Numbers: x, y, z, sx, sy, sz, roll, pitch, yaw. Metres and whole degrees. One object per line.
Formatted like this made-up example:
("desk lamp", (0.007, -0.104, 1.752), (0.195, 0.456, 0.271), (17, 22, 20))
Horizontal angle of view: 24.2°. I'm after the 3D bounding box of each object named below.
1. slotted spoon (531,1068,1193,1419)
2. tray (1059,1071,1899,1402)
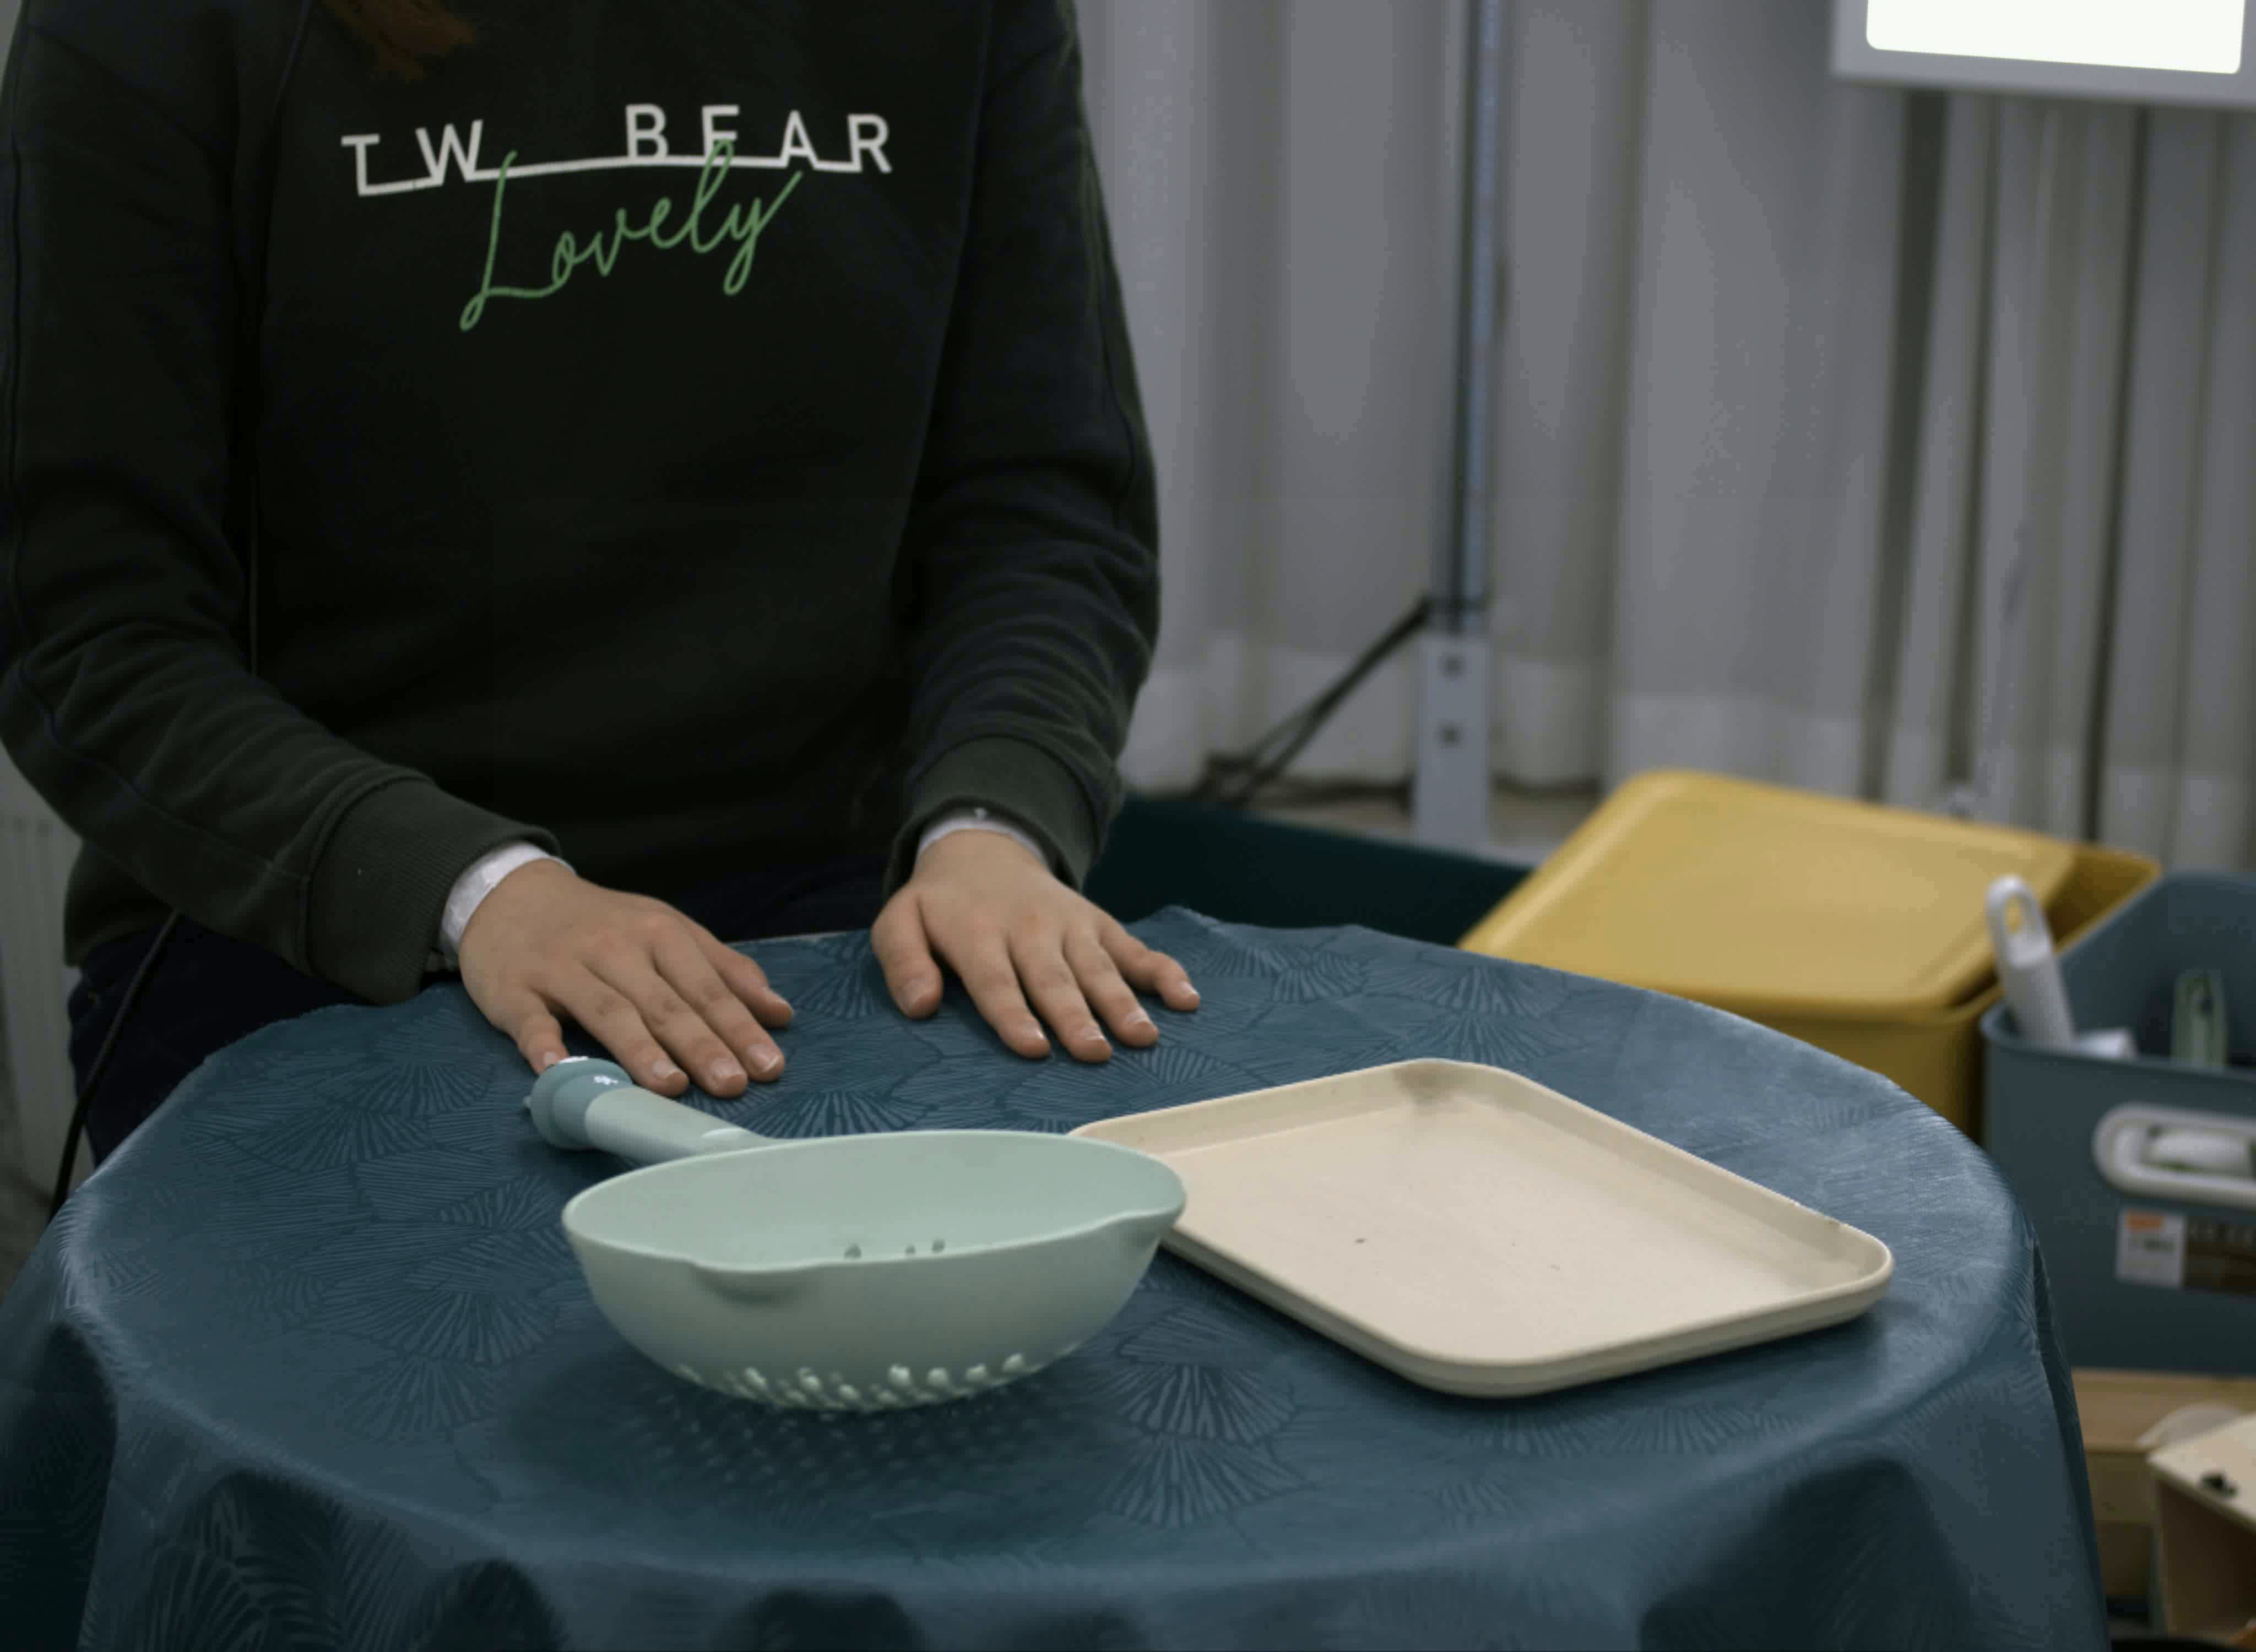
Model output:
("slotted spoon", (-0.112, 0.105, 1.536), (0.170, 0.076, 0.354), (-6, 16, -25))
("tray", (0.101, 0.121, 1.573), (0.172, 0.017, 0.236), (-9, 18, -32))
